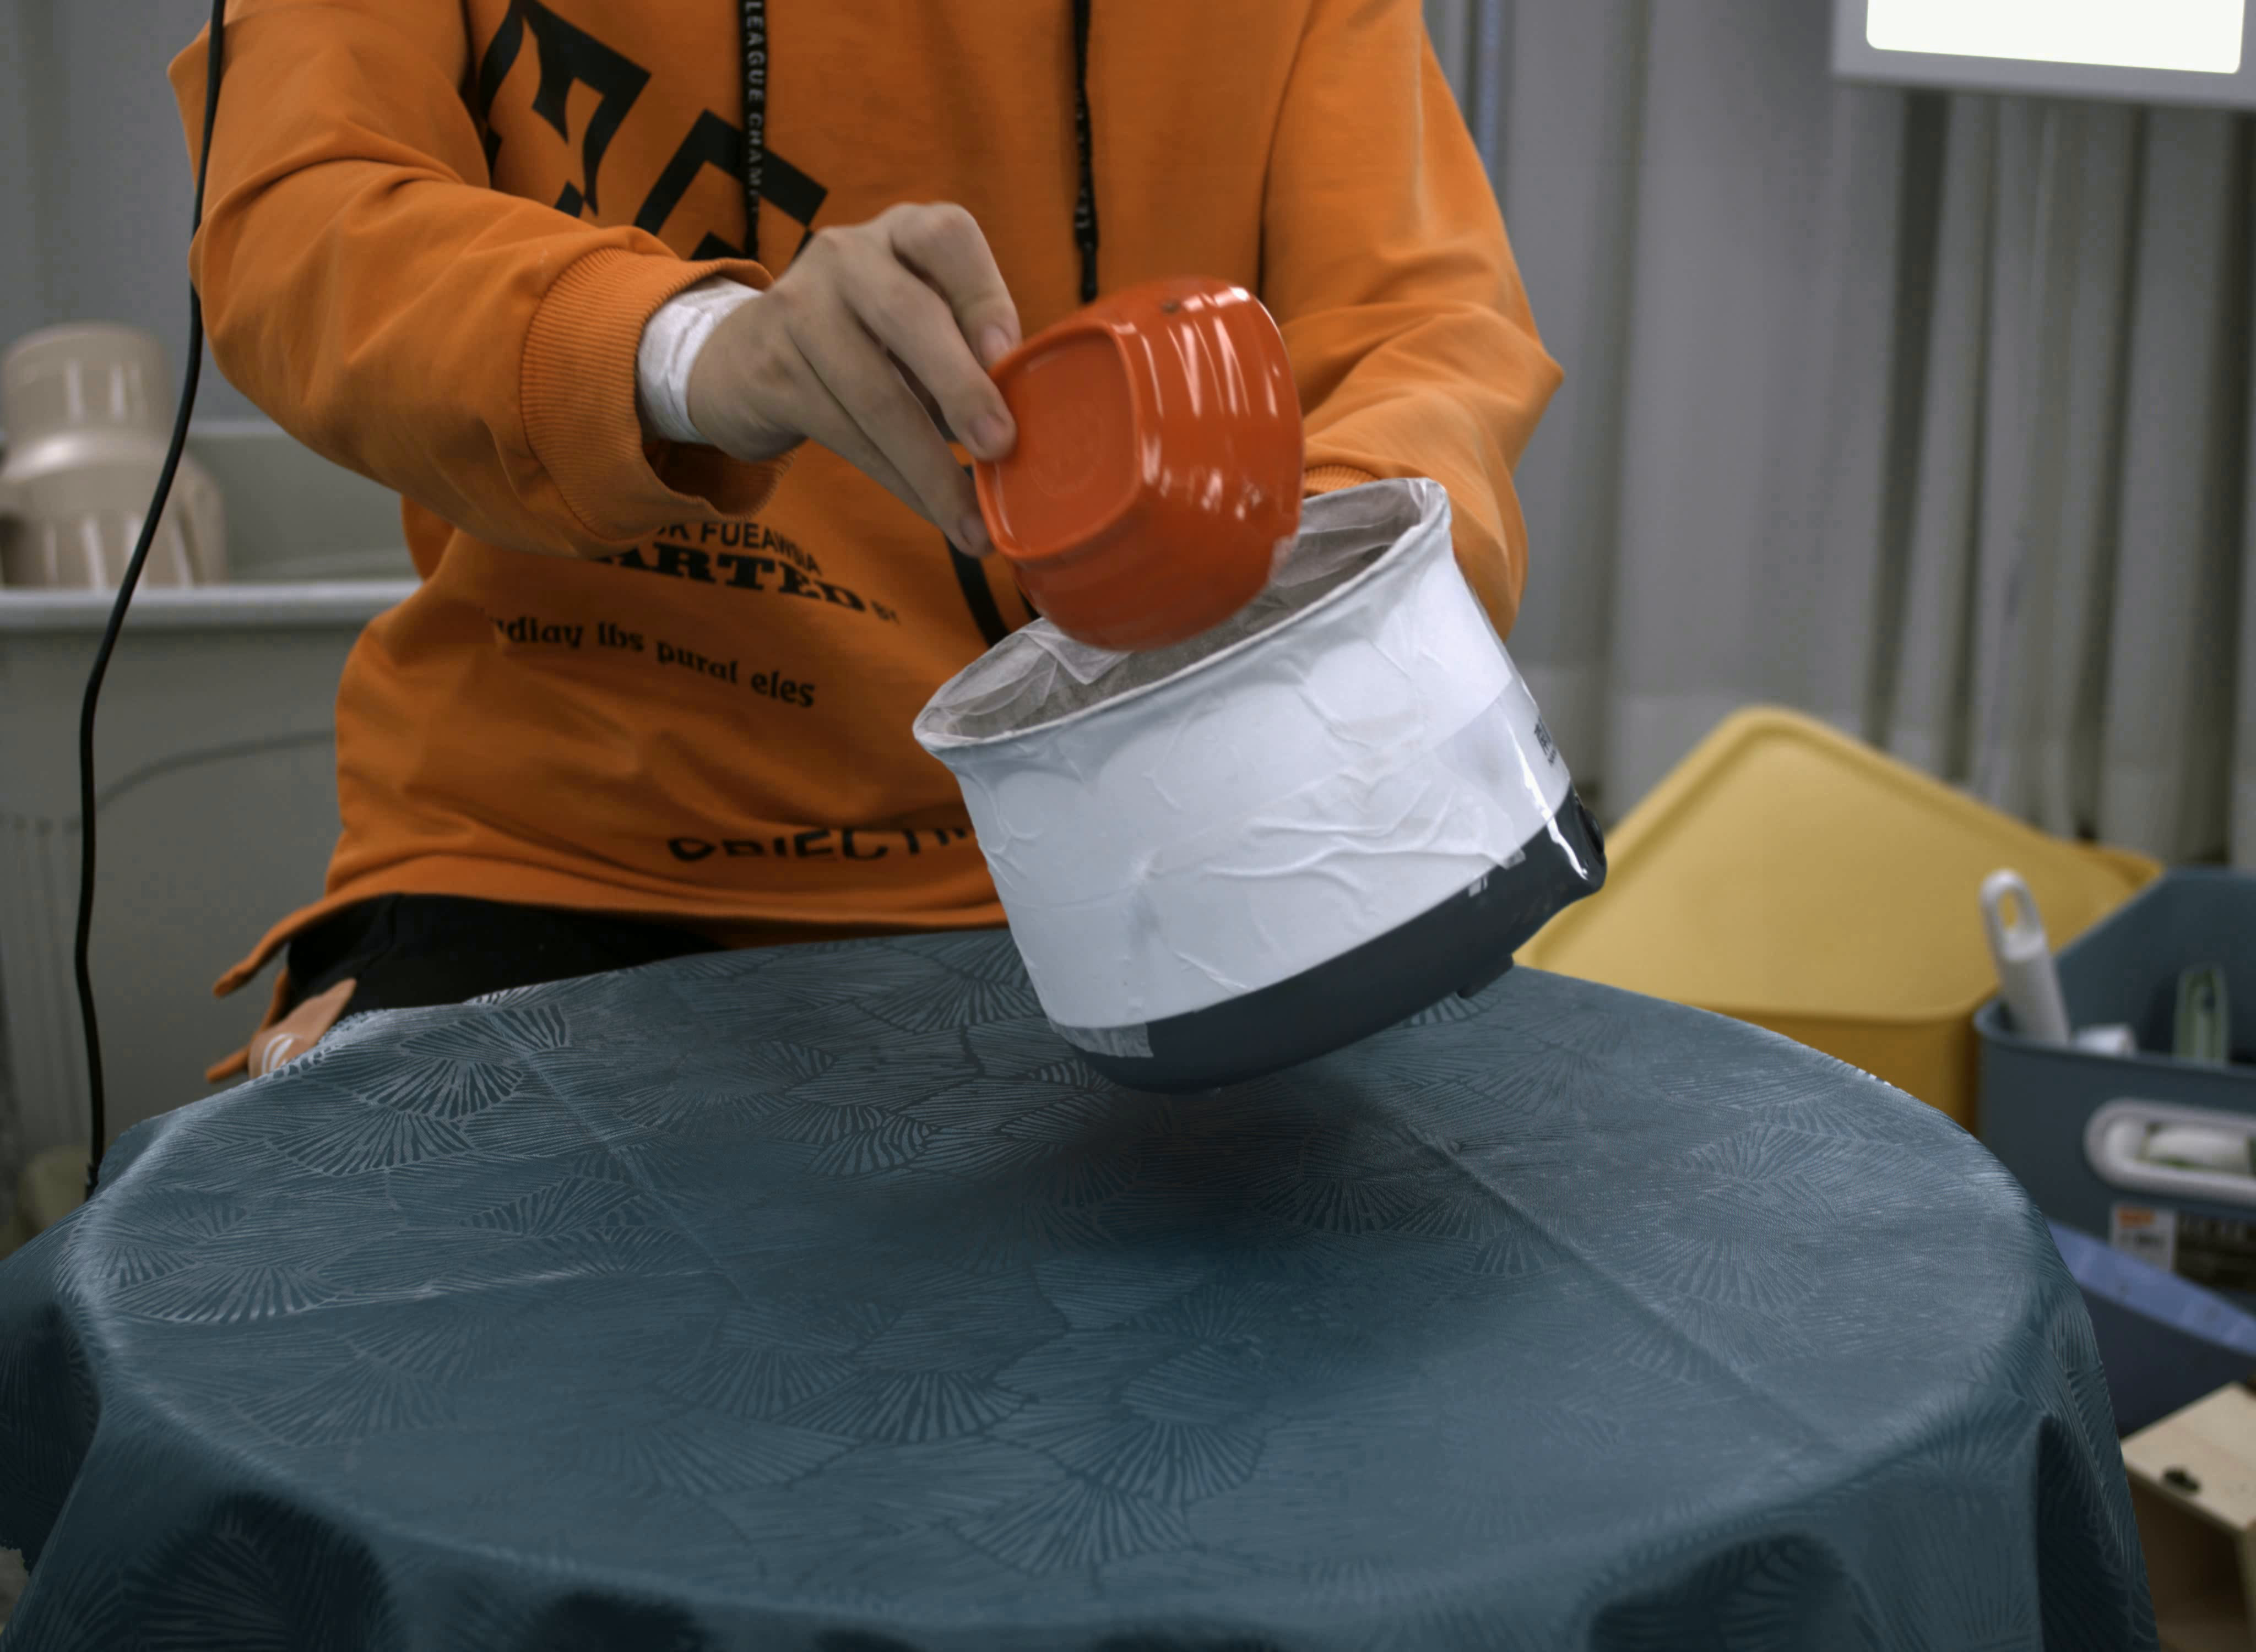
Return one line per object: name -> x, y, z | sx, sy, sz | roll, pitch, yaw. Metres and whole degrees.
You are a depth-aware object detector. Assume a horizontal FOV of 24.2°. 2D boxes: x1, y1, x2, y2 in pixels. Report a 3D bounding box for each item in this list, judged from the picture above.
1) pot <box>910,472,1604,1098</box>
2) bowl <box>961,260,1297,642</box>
pot -> 0.042, -0.019, 1.626 | 0.178, 0.138, 0.232 | -22, 14, 11
bowl -> -0.008, -0.114, 1.555 | 0.117, 0.119, 0.052 | 16, 6, 42
